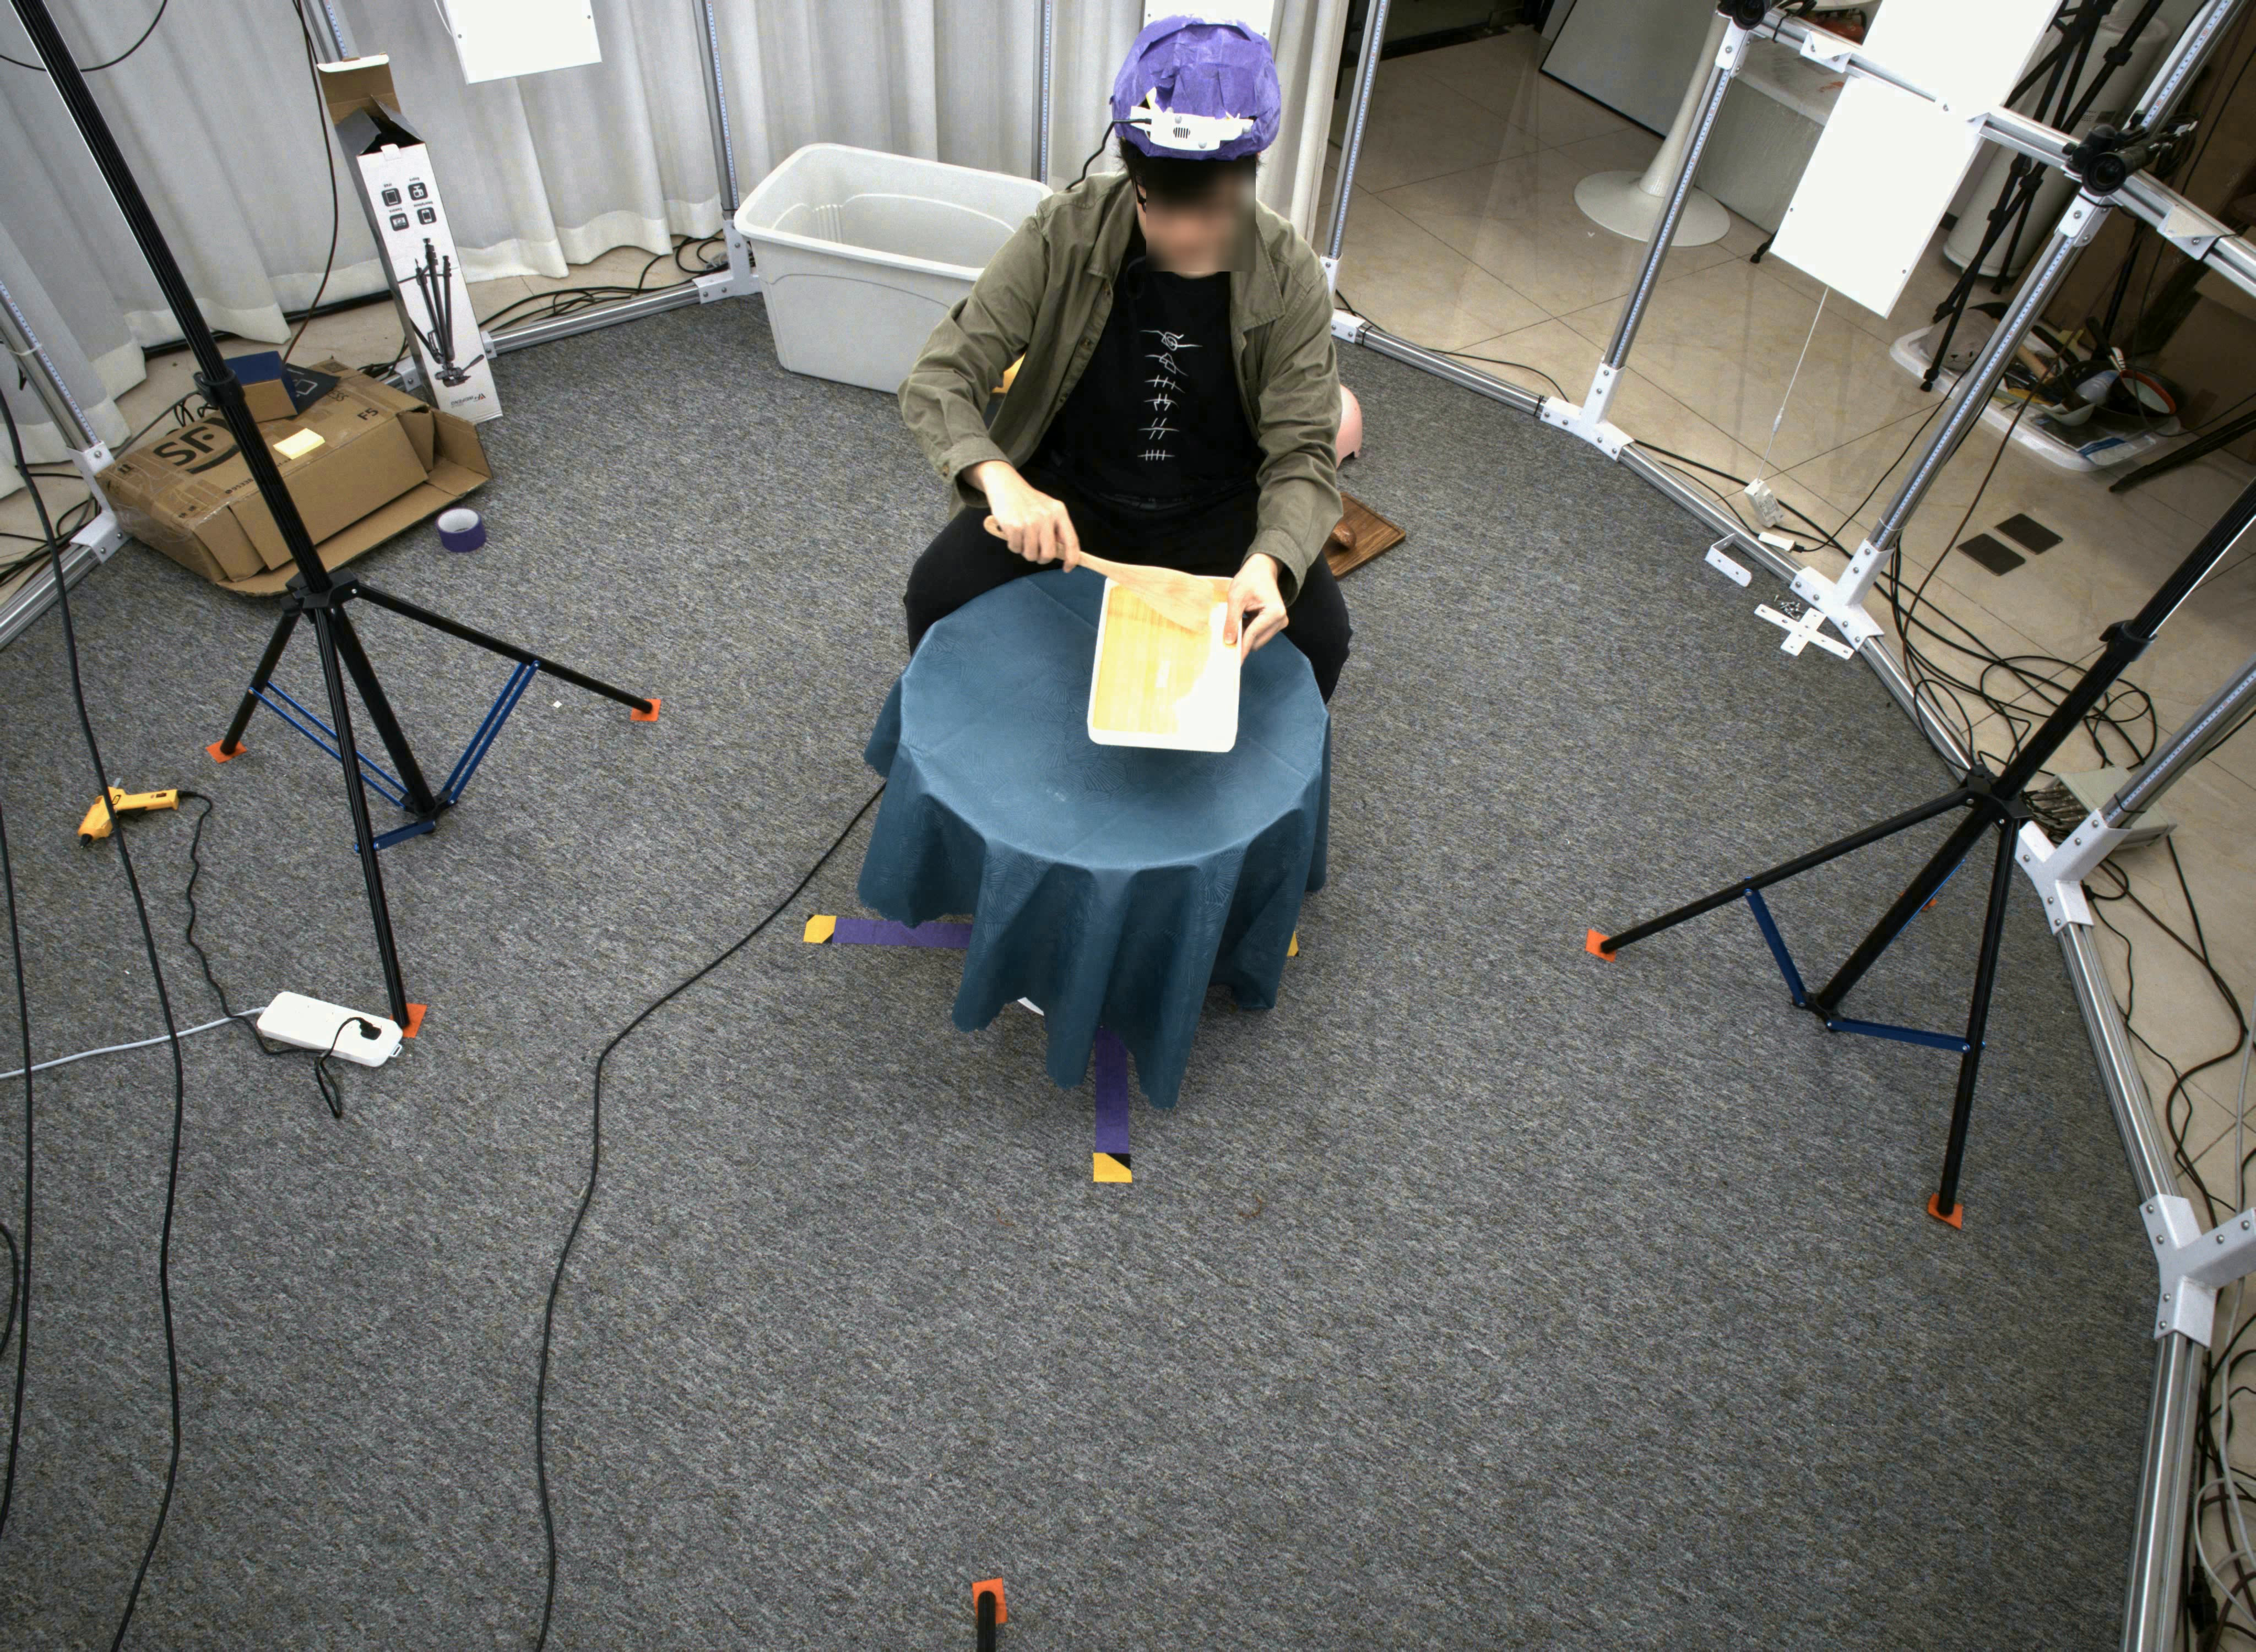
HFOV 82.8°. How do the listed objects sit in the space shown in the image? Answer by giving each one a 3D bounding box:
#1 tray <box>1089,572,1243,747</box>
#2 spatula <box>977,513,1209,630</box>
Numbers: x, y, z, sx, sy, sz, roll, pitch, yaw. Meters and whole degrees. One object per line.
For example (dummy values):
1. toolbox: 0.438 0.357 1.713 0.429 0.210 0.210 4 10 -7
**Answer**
1. tray: 0.055 -0.230 1.709 0.191 0.027 0.307 4 50 2
2. spatula: -0.044 -0.348 1.705 0.327 0.078 0.017 20 40 -4
